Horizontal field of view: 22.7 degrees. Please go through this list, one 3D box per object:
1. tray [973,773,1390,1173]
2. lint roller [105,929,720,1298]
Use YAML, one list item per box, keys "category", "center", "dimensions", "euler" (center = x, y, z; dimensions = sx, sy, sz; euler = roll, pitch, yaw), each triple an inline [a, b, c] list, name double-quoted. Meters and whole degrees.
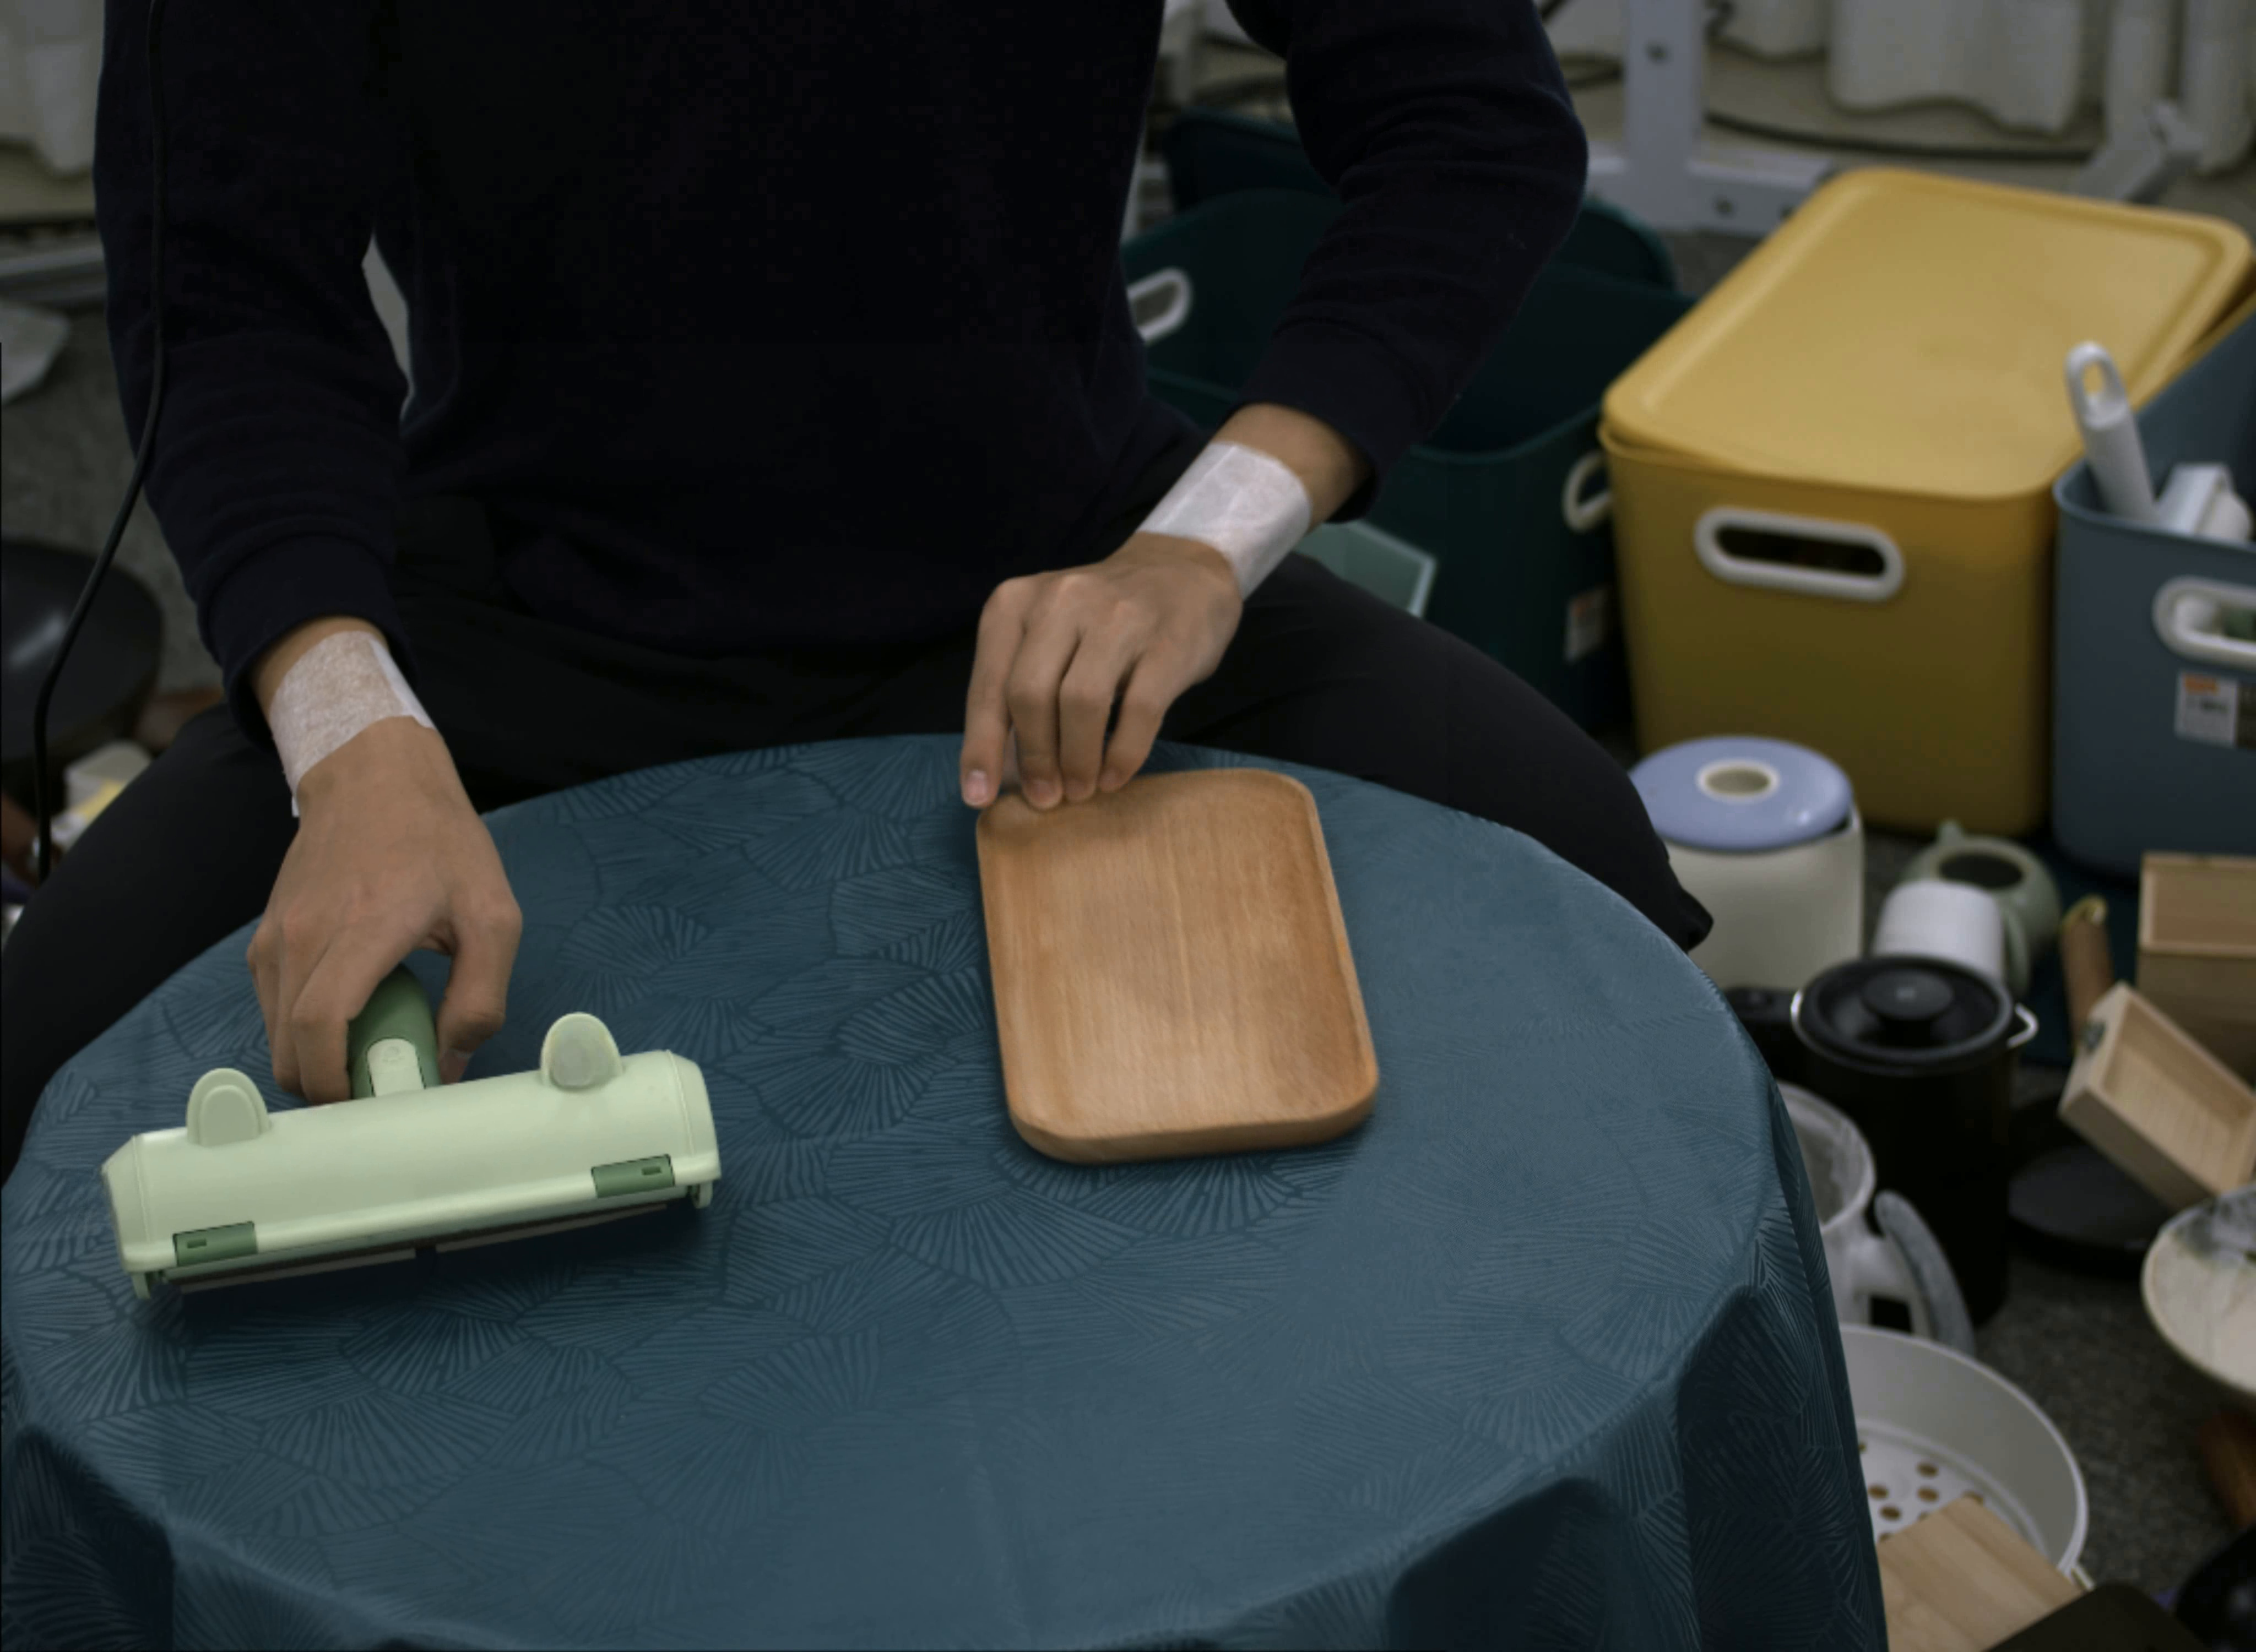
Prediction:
- category: "tray"
  center: [0.016, 0.049, 1.979]
  dimensions: [0.130, 0.022, 0.254]
  euler: [-3, 28, -4]
- category: "lint roller"
  center: [-0.247, 0.073, 1.873]
  dimensions: [0.198, 0.081, 0.186]
  euler: [-9, 40, -12]
